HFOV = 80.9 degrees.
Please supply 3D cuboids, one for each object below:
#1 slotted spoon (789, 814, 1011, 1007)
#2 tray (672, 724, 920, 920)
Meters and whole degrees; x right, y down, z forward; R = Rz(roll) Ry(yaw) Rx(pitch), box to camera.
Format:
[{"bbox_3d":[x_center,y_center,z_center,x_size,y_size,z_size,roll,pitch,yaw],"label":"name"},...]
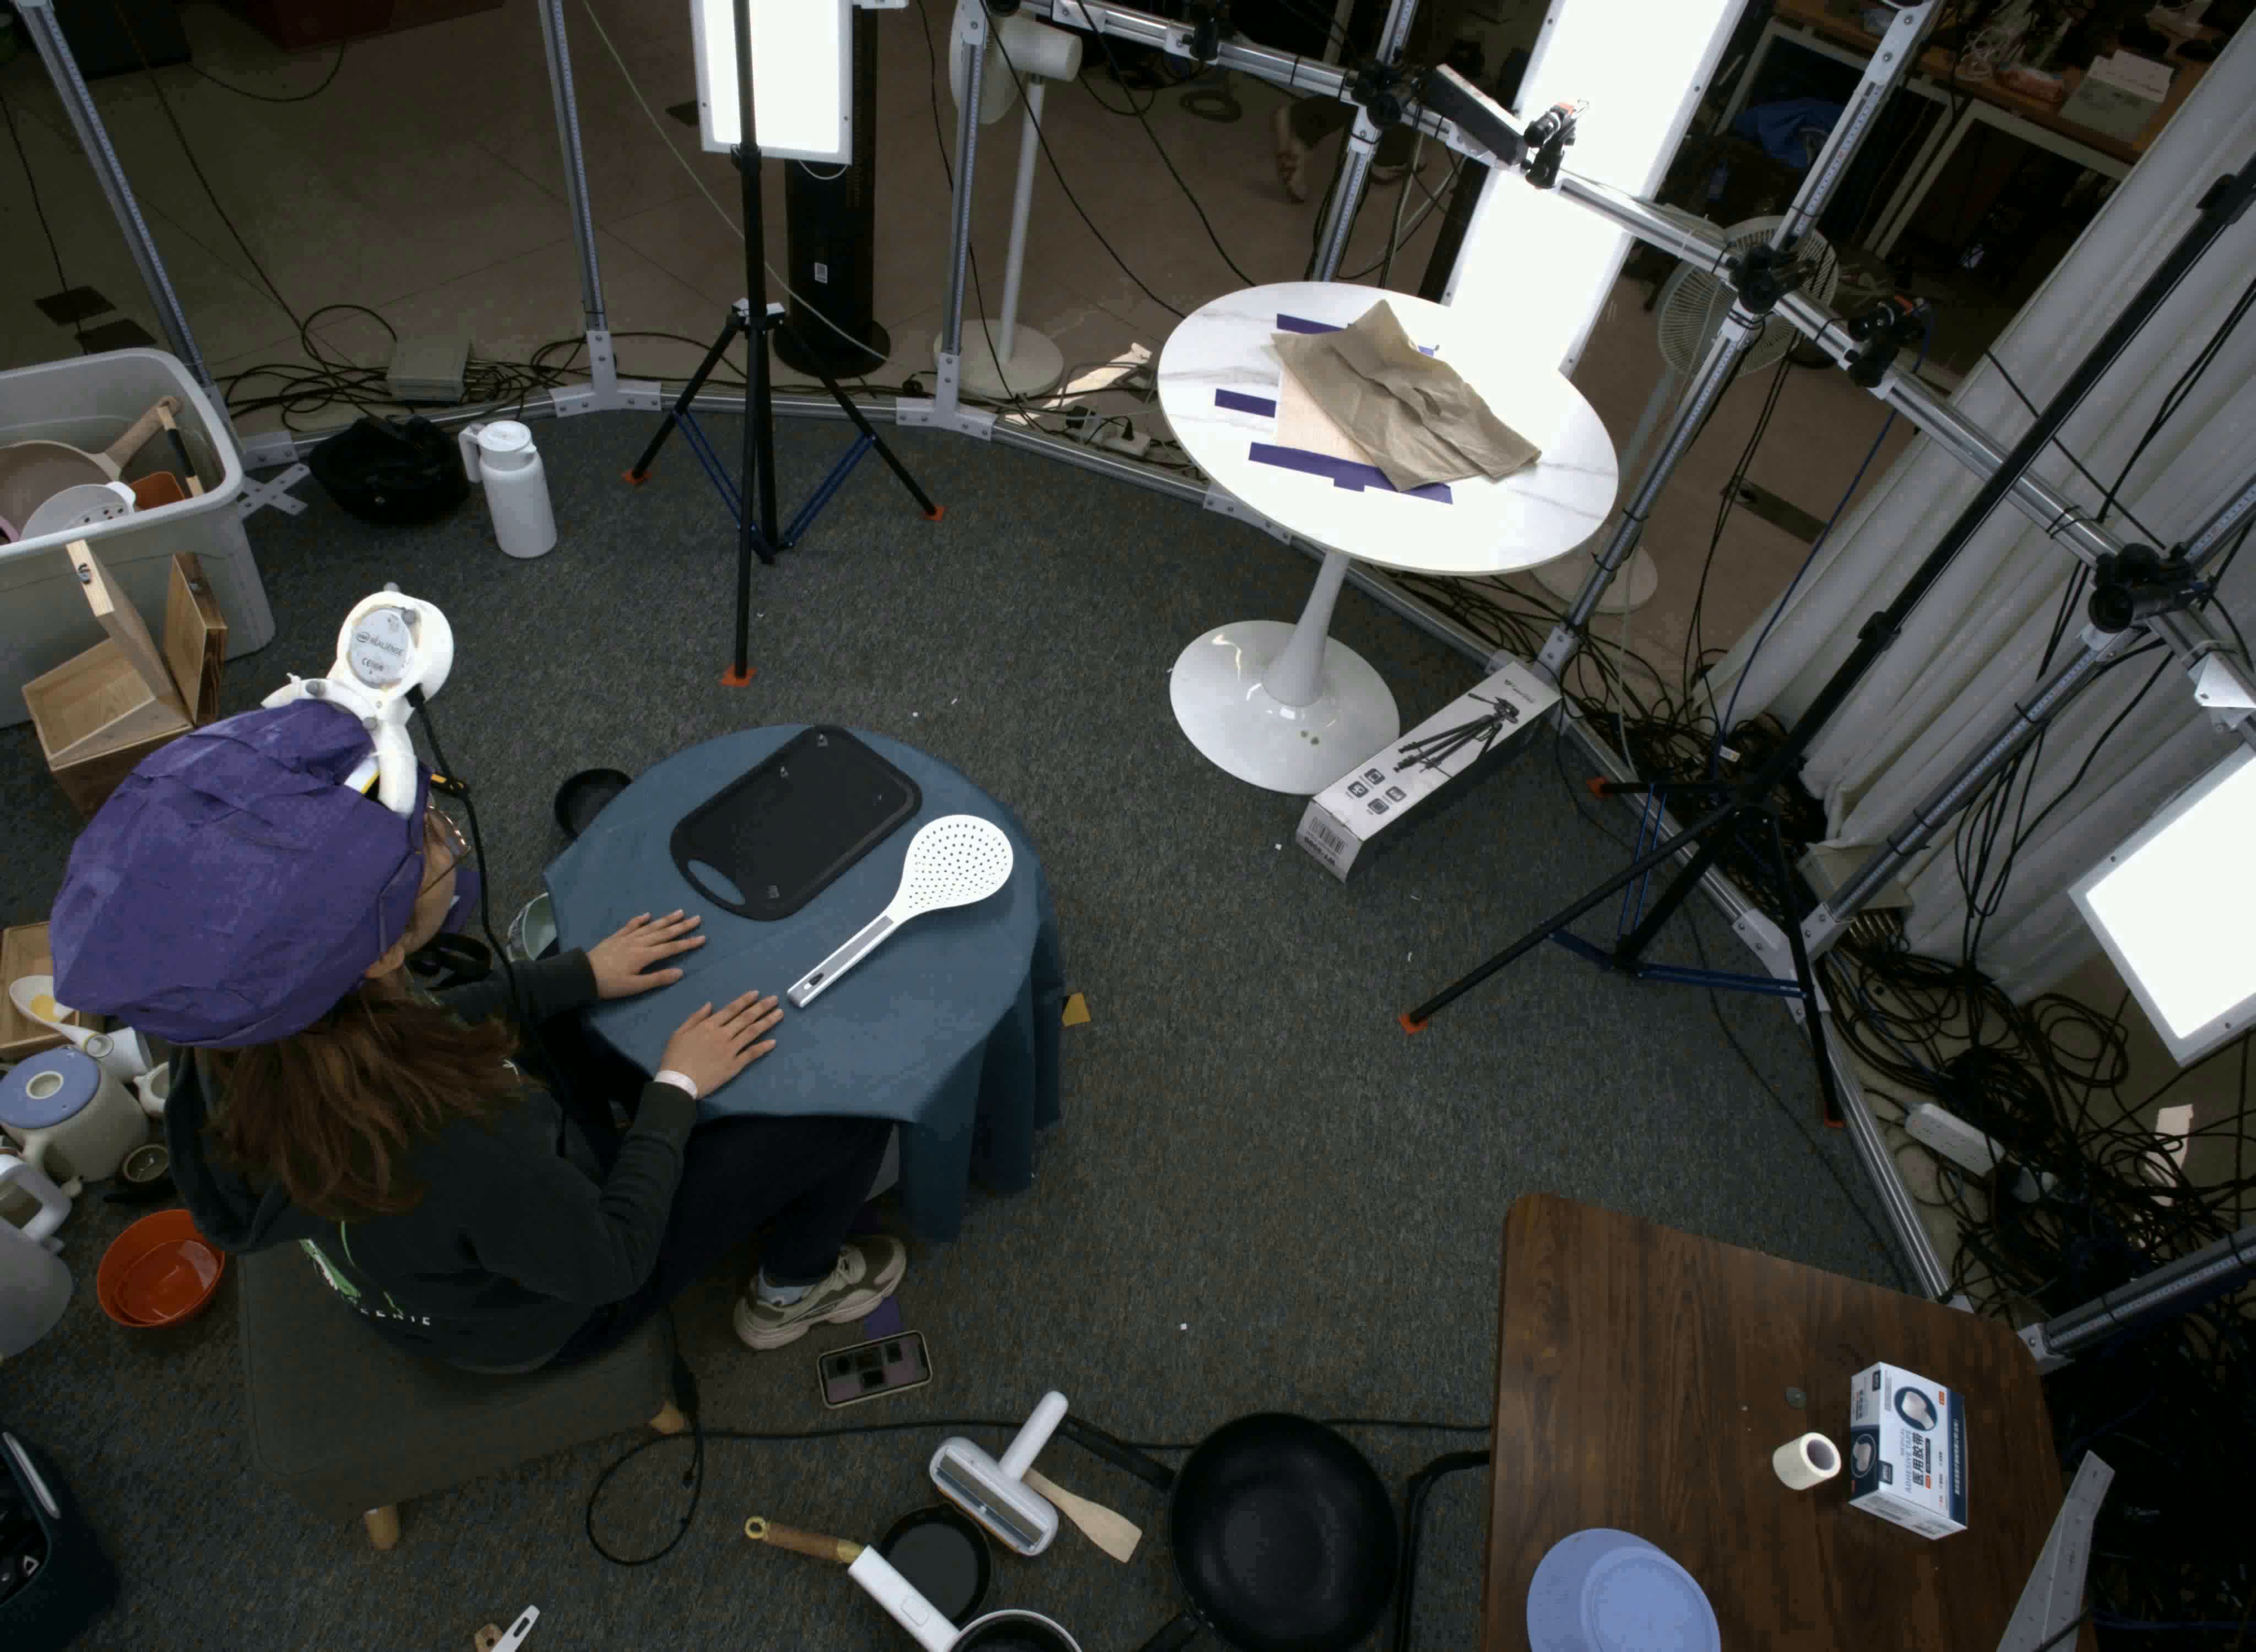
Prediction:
[{"bbox_3d":[-0.291,0.107,1.654,0.133,0.047,0.350,38,55,17],"label":"slotted spoon"},{"bbox_3d":[-0.444,-0.009,1.727,0.207,0.010,0.325,36,54,13],"label":"tray"}]
